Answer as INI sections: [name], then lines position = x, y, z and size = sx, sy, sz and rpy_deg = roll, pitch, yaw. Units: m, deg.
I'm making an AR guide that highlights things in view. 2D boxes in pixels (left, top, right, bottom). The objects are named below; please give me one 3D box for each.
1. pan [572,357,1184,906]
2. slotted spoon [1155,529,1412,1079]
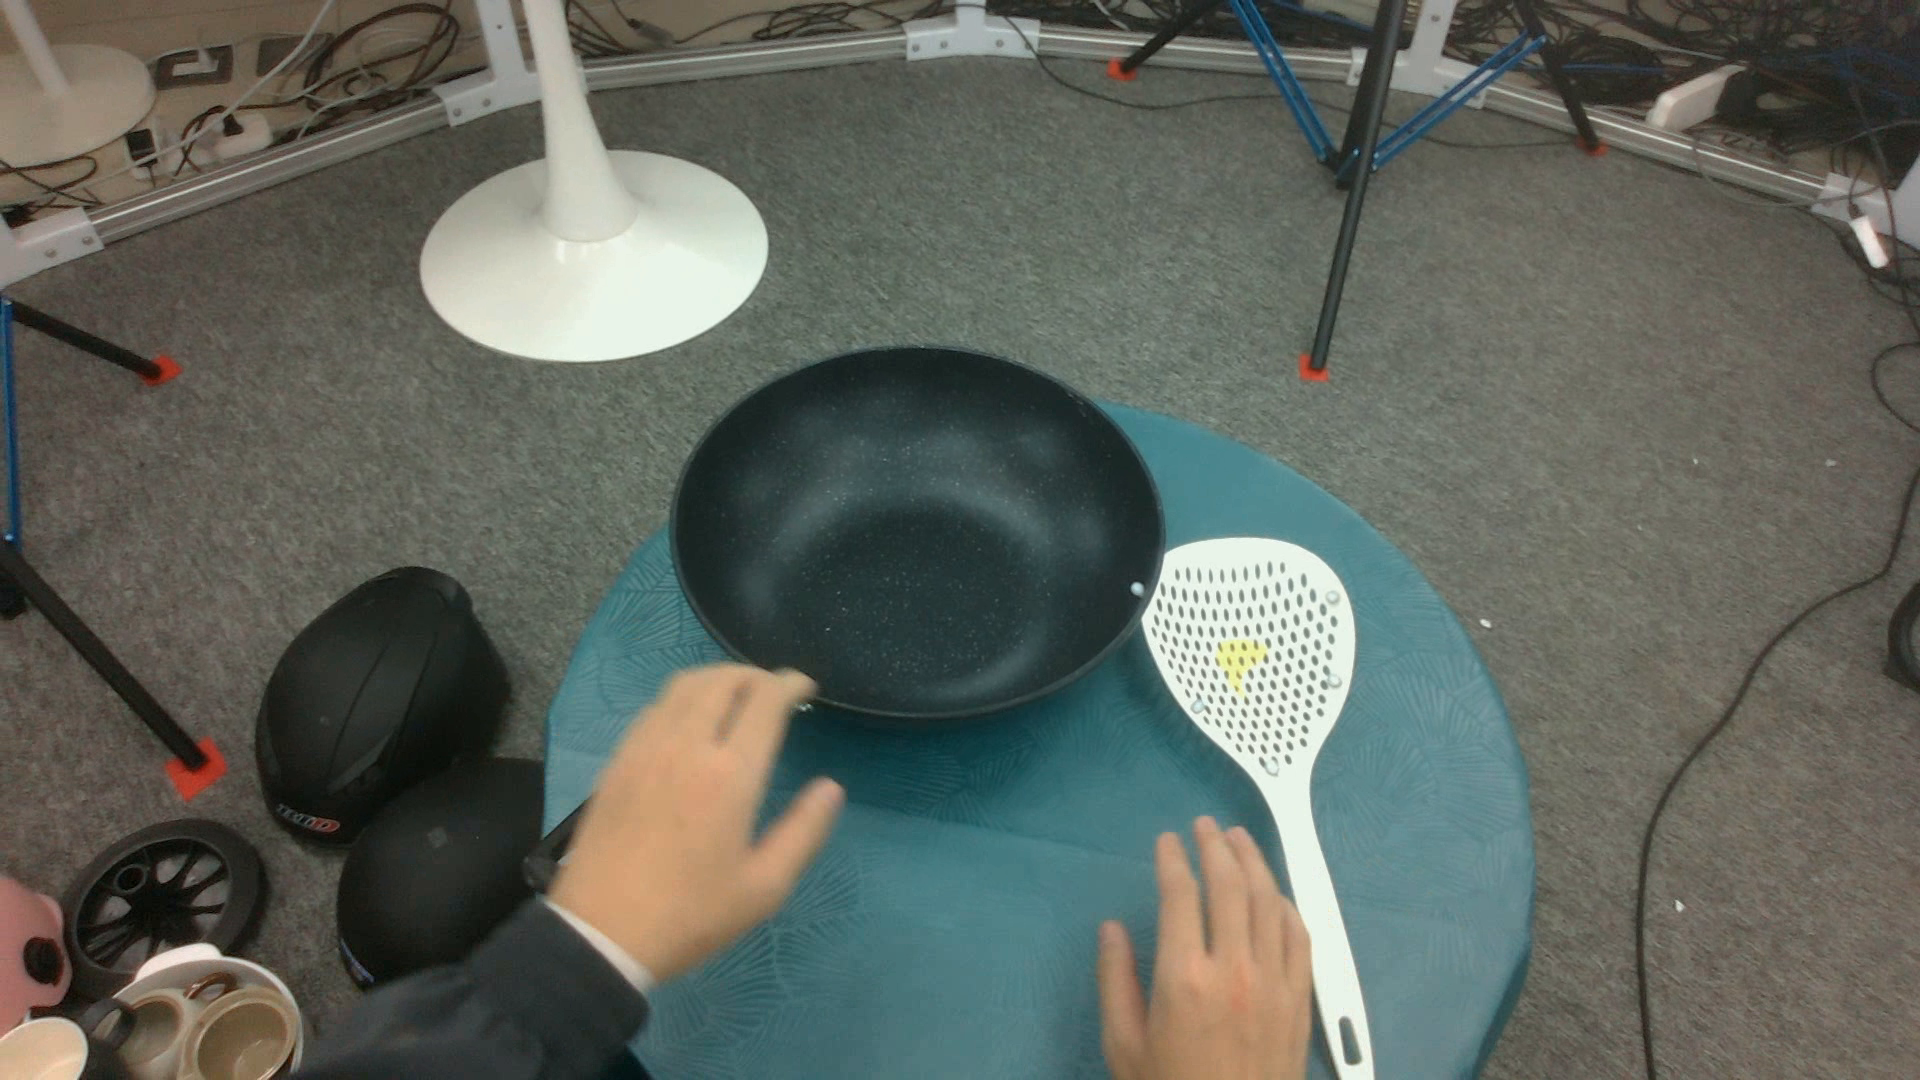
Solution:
[pan]
position = -0.057, 0.058, 0.851
size = 0.310, 0.111, 0.479
rpy_deg = 24, 53, 22
[slotted spoon]
position = 0.206, 0.139, 0.821
size = 0.137, 0.050, 0.349
rpy_deg = -6, 49, -2
